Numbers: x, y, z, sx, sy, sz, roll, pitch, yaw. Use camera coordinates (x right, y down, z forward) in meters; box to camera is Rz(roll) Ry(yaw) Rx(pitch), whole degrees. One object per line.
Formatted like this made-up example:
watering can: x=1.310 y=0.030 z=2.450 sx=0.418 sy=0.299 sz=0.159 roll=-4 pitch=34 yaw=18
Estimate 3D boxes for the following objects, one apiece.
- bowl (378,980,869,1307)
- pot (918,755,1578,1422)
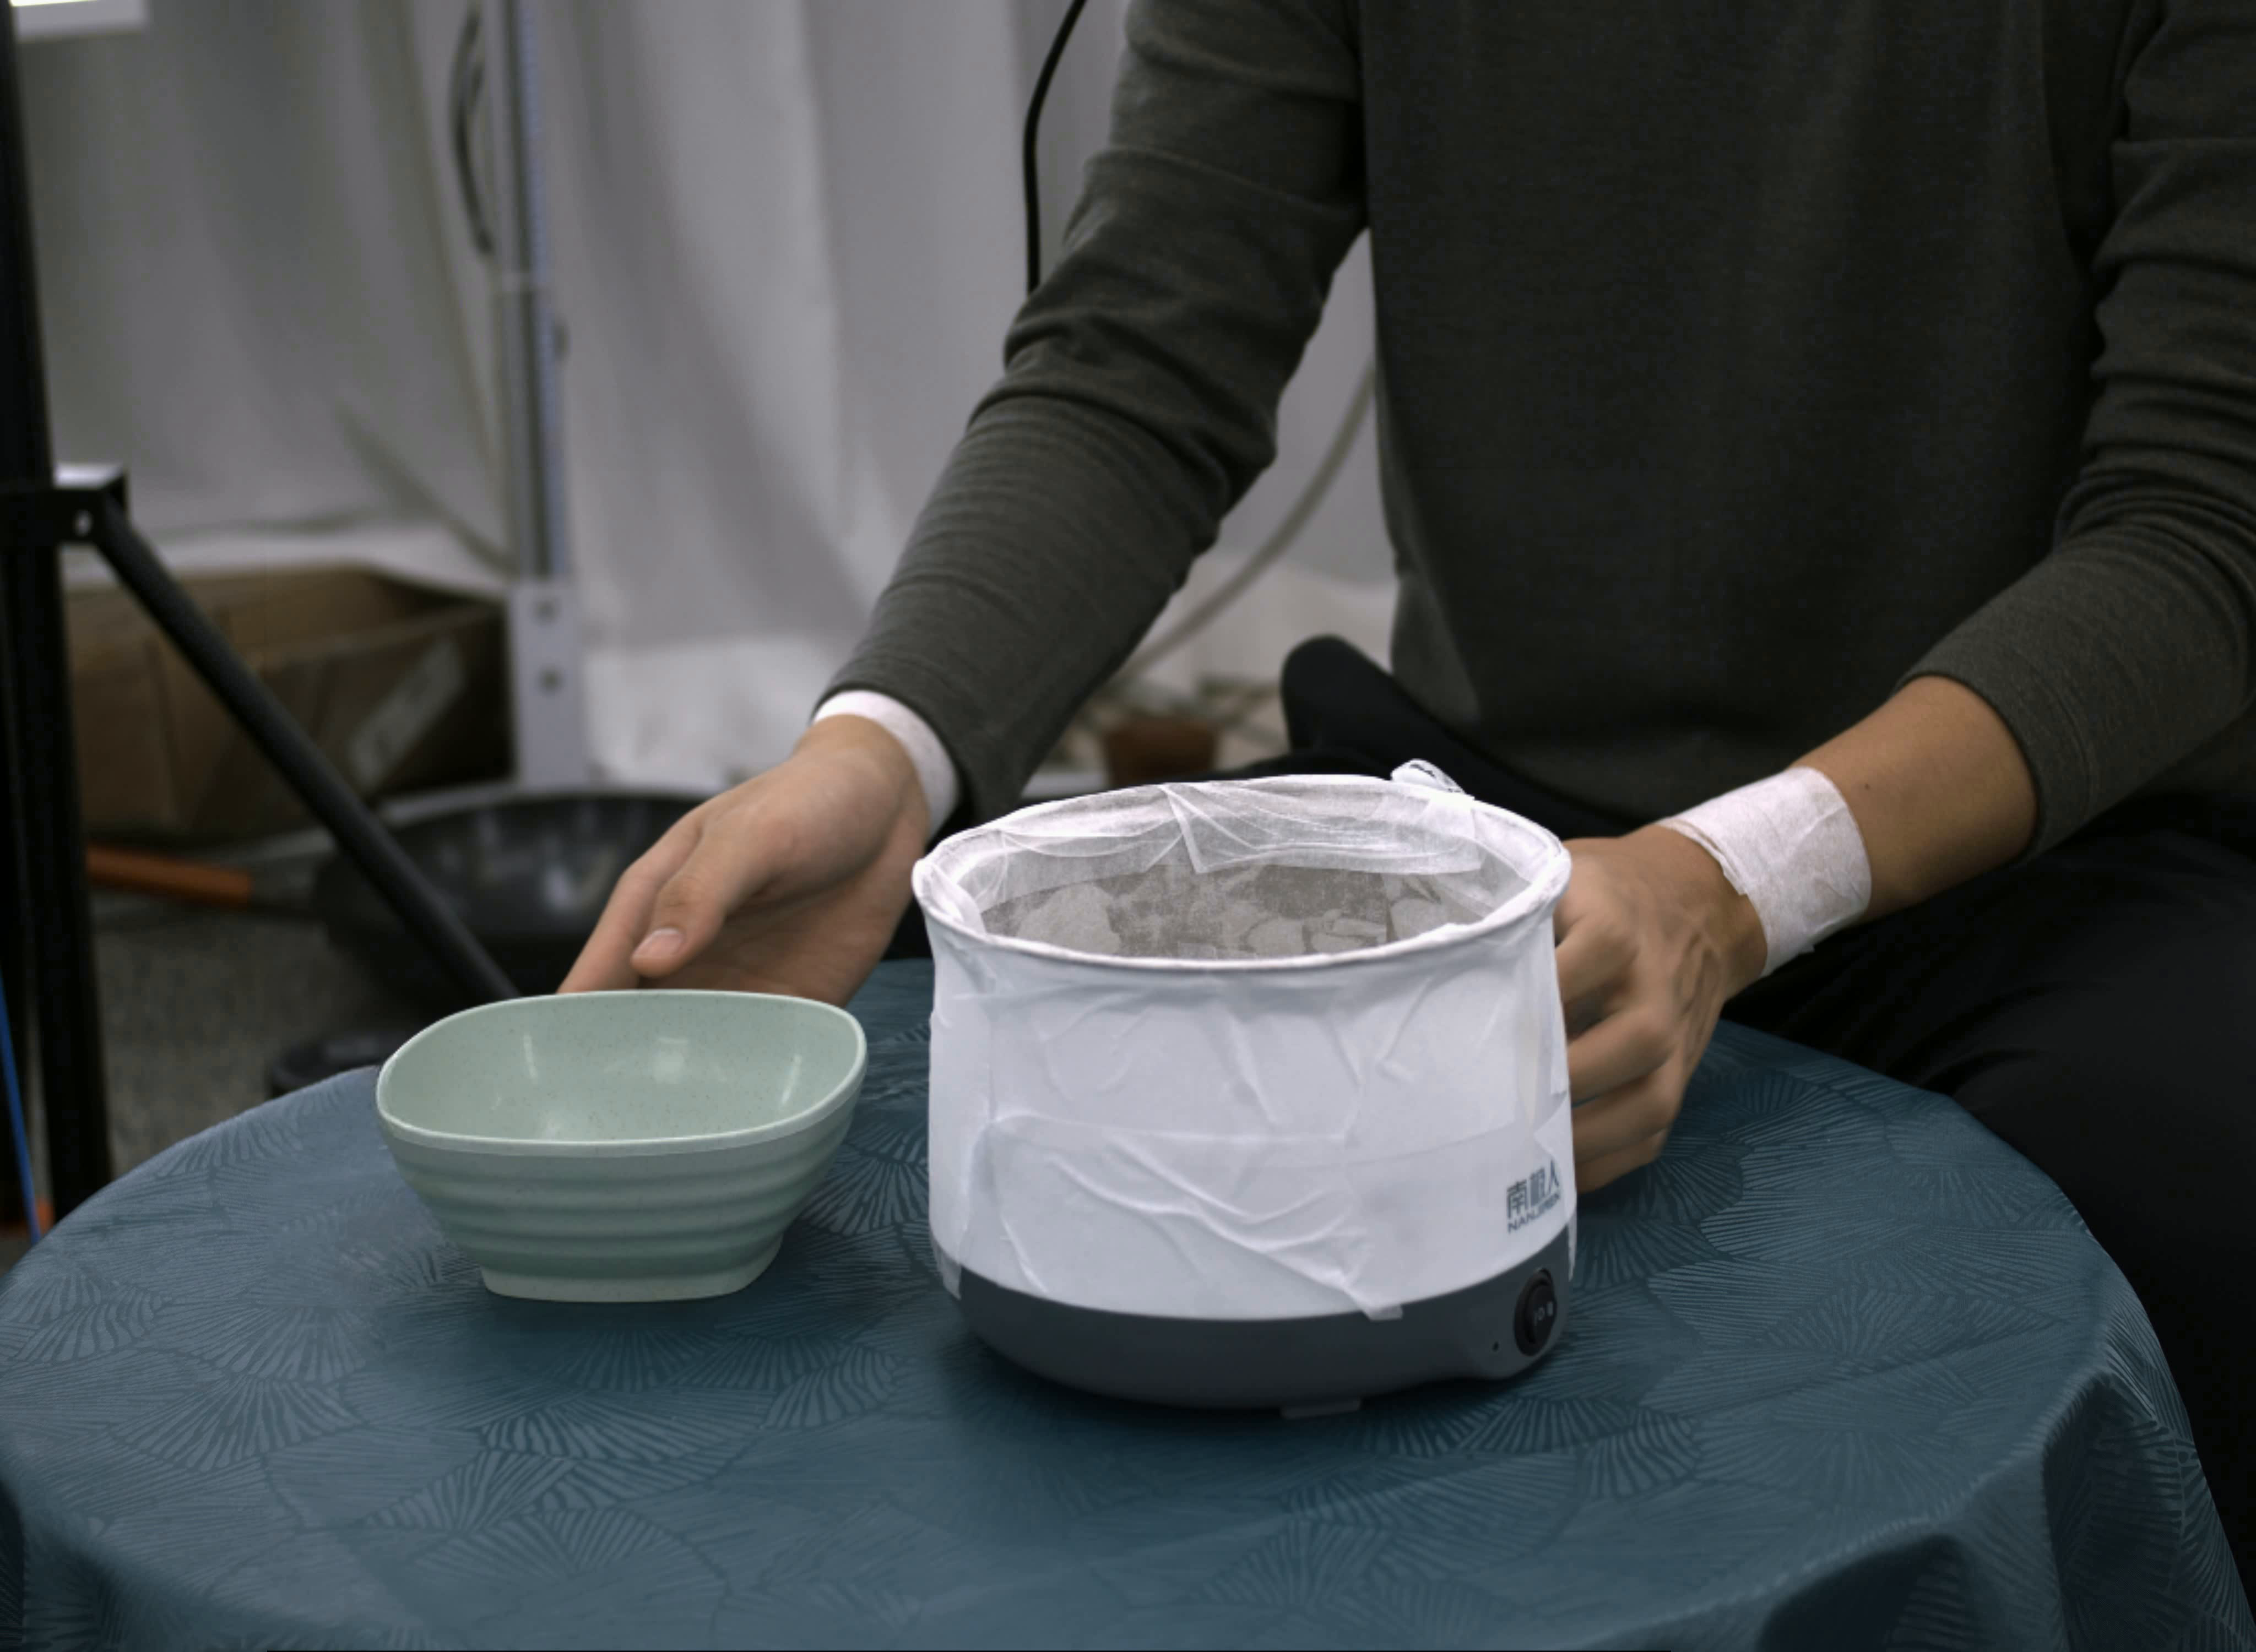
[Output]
bowl: x=-0.142 y=0.095 z=1.527 sx=0.151 sy=0.058 sz=0.152 roll=-4 pitch=18 yaw=0
pot: x=0.047 y=0.064 z=1.456 sx=0.182 sy=0.136 sz=0.229 roll=8 pitch=19 yaw=31
